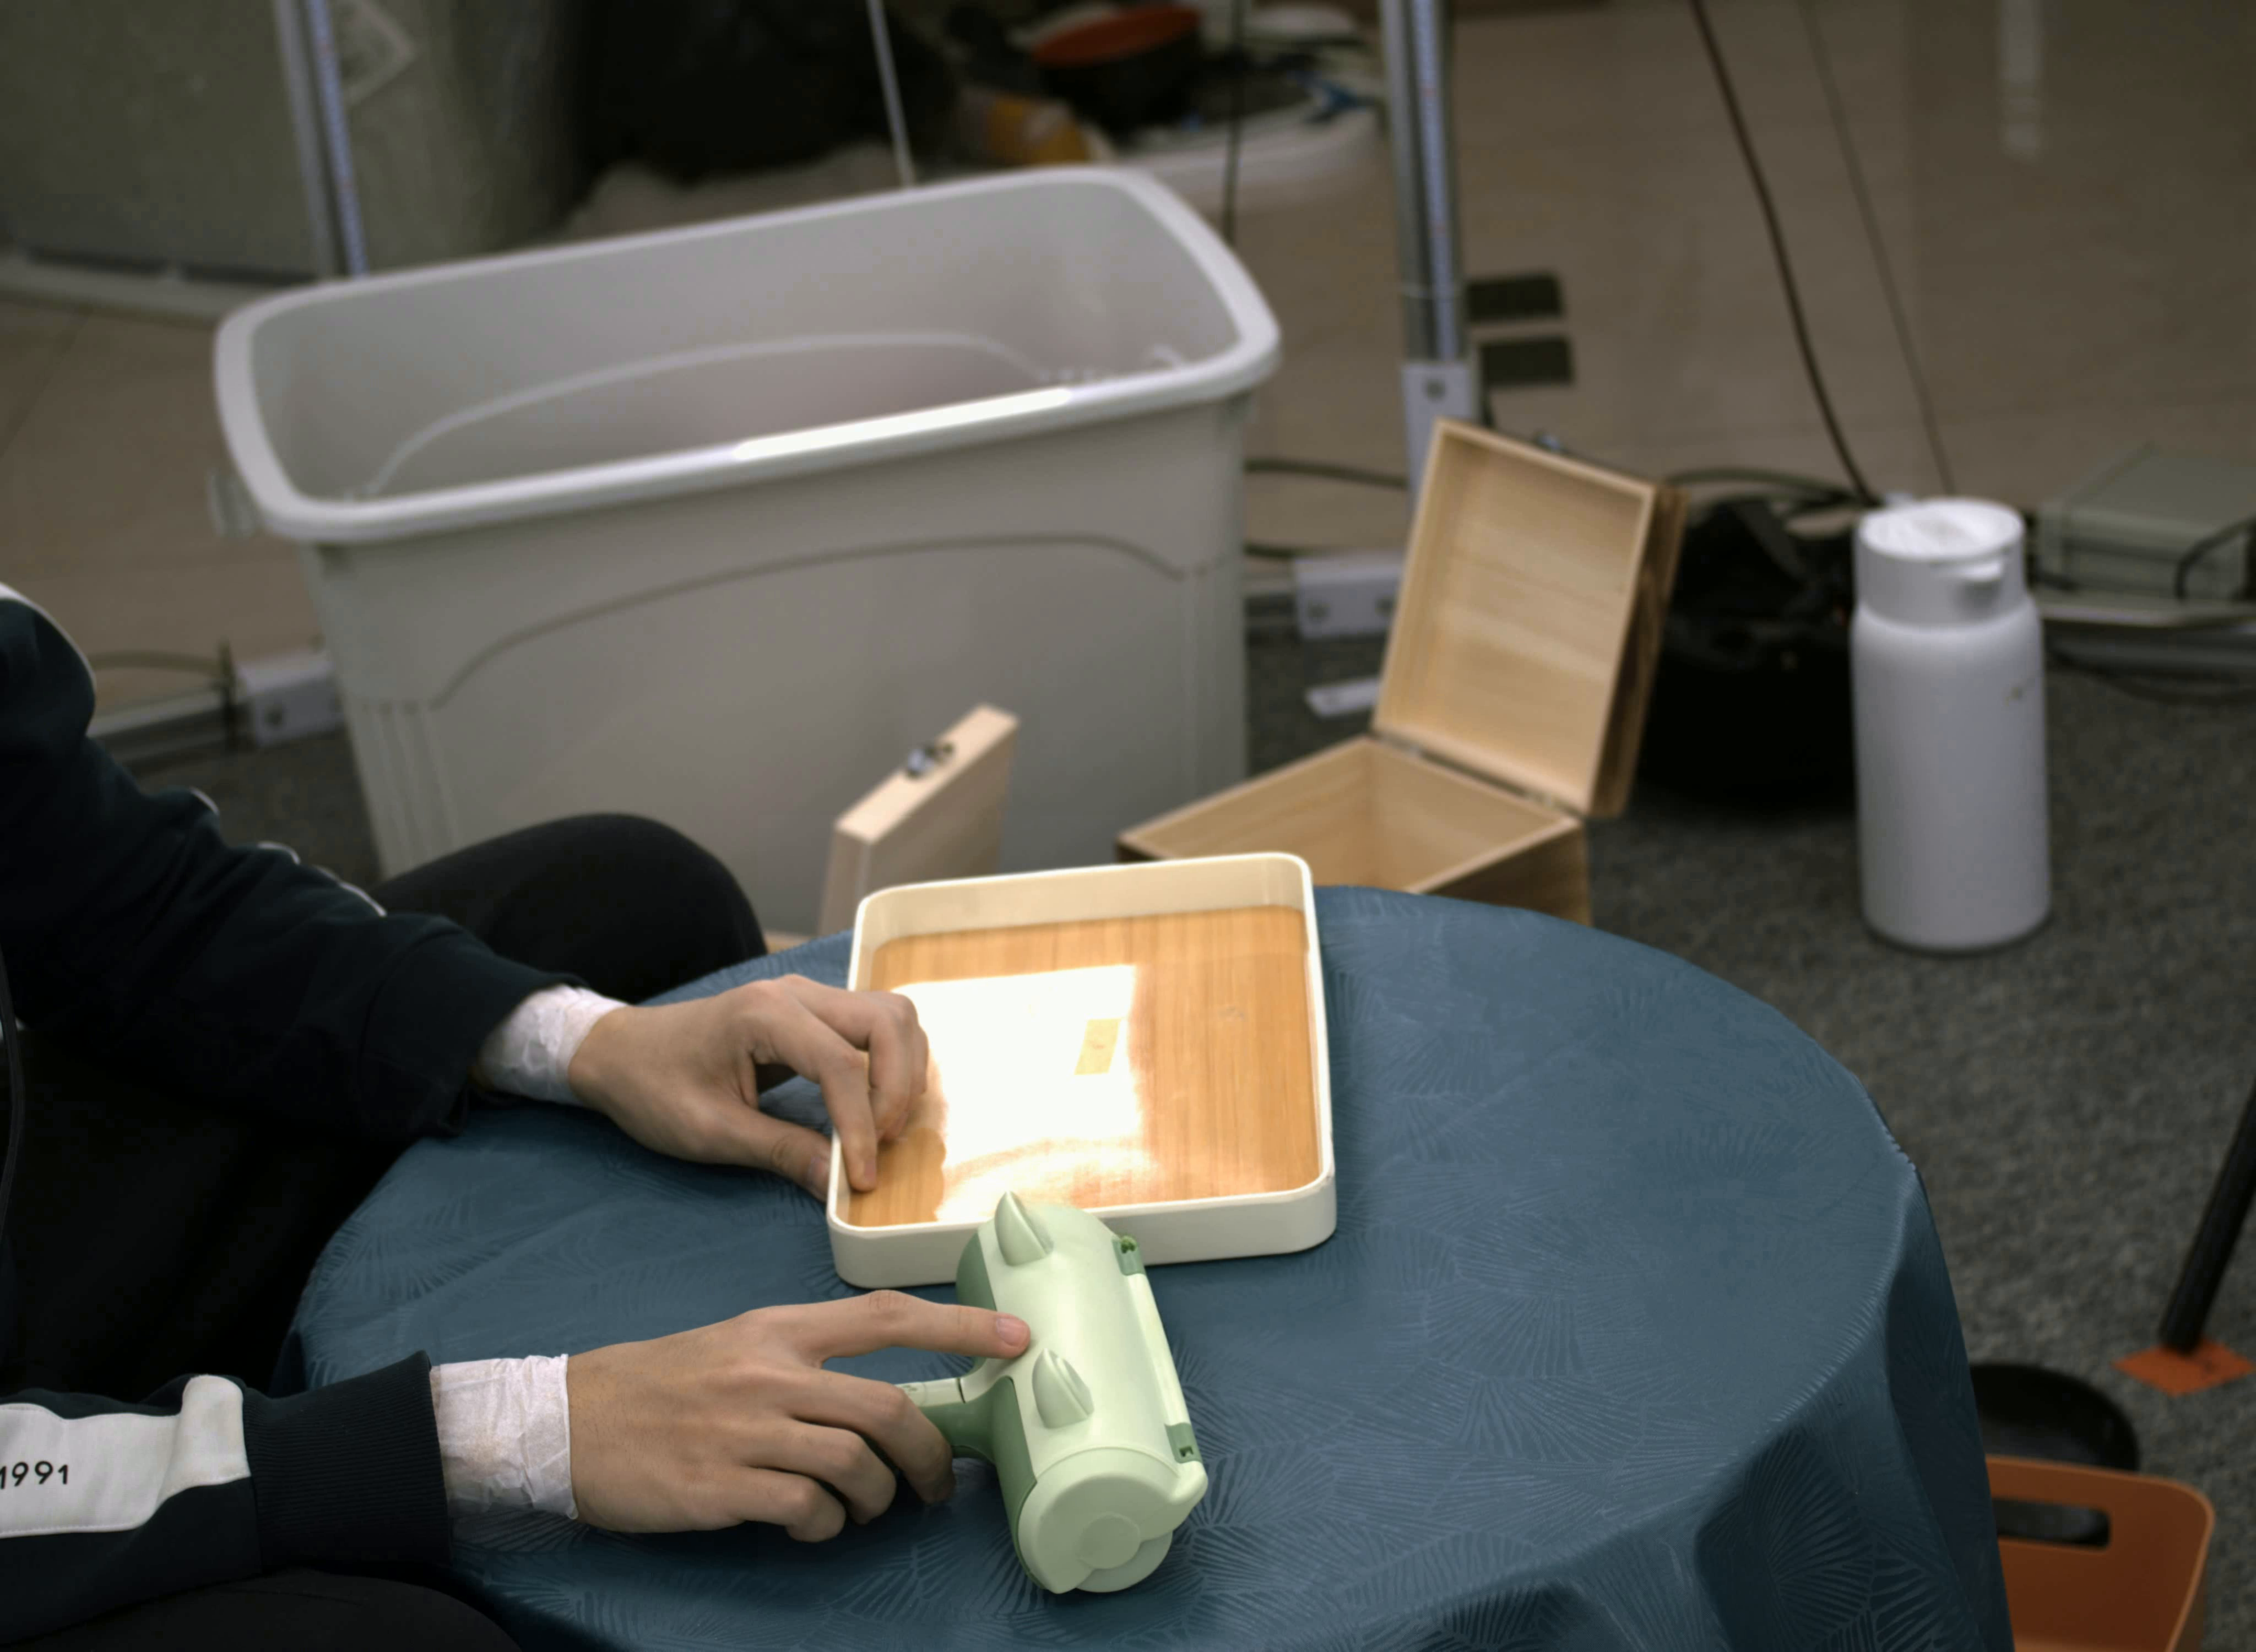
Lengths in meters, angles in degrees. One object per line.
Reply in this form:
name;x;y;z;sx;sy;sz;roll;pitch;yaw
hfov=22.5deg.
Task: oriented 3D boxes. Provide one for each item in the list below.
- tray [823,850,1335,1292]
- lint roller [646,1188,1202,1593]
tray;-0.018;0.092;2.218;0.191;0.028;0.296;-6;25;3
lint roller;-0.077;0.193;1.956;0.183;0.083;0.196;-5;25;-6
